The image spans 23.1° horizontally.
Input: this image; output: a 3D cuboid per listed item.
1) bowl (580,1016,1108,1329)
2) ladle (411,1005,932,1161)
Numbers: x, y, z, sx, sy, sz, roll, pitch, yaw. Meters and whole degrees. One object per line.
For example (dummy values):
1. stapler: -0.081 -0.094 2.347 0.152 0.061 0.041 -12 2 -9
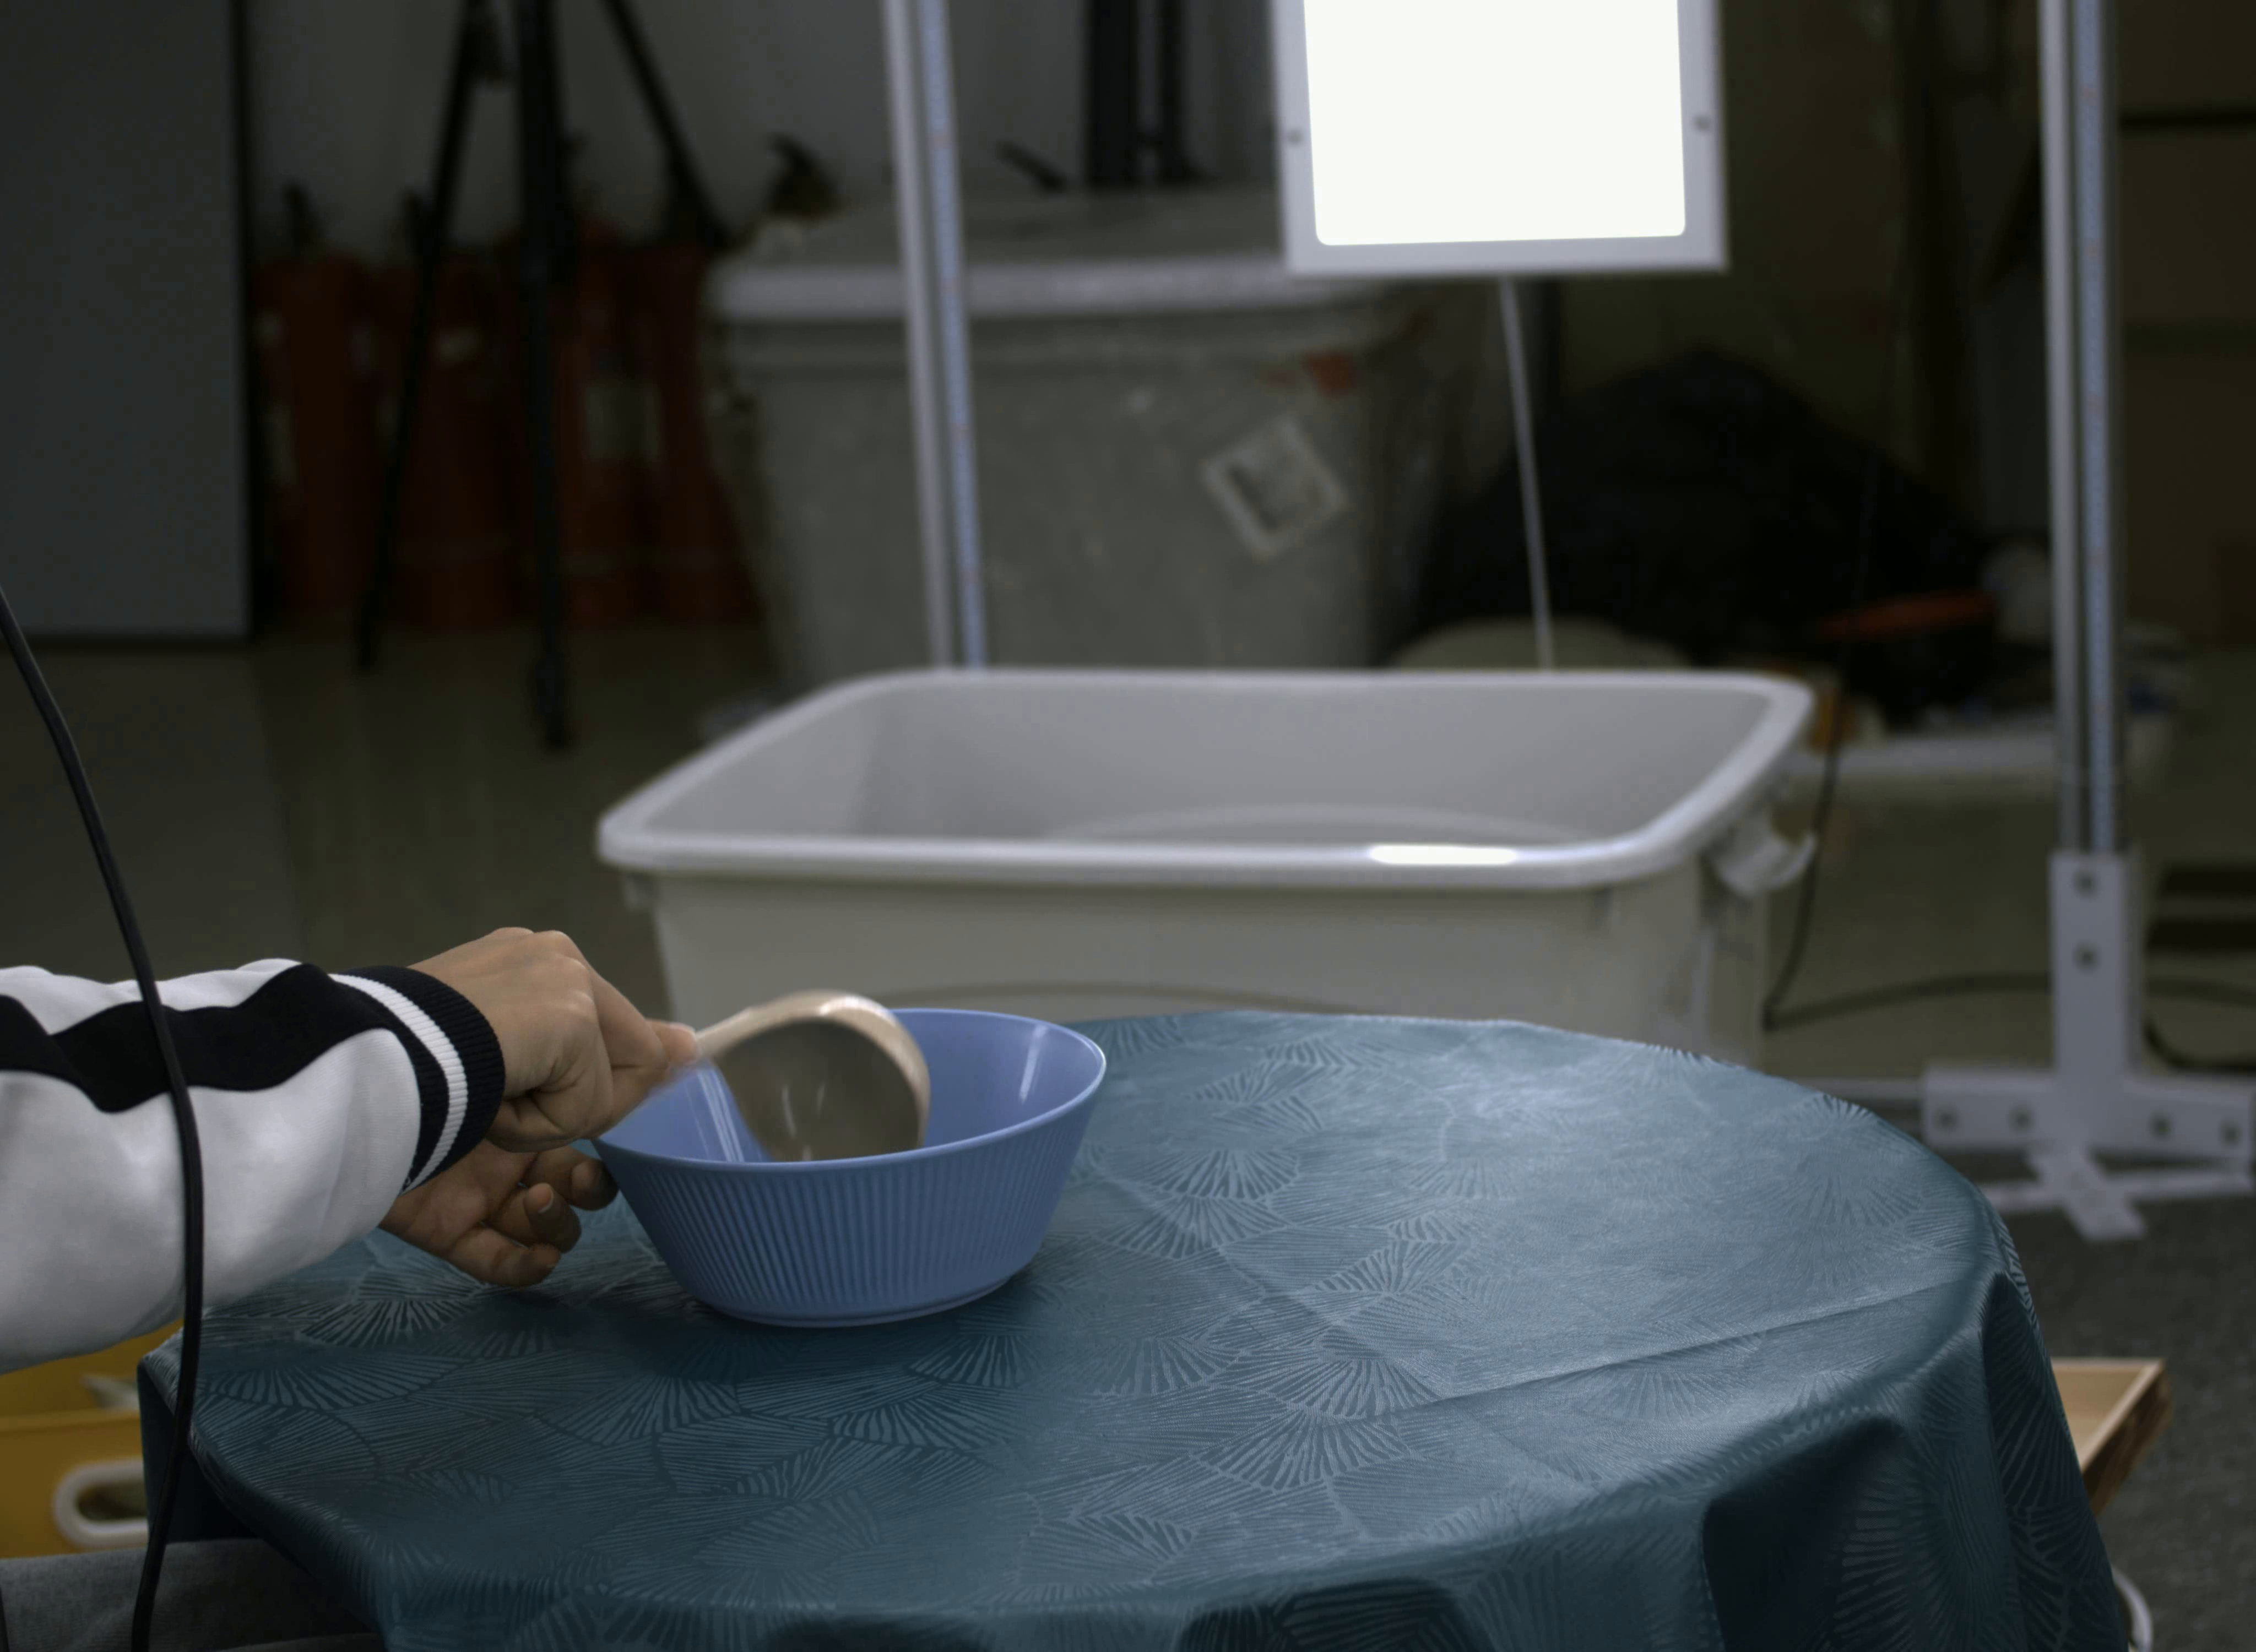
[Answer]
1. bowl: -0.091 0.117 1.826 0.175 0.070 0.176 -5 13 0
2. ladle: -0.147 0.100 1.741 0.073 0.073 0.249 2 4 30
